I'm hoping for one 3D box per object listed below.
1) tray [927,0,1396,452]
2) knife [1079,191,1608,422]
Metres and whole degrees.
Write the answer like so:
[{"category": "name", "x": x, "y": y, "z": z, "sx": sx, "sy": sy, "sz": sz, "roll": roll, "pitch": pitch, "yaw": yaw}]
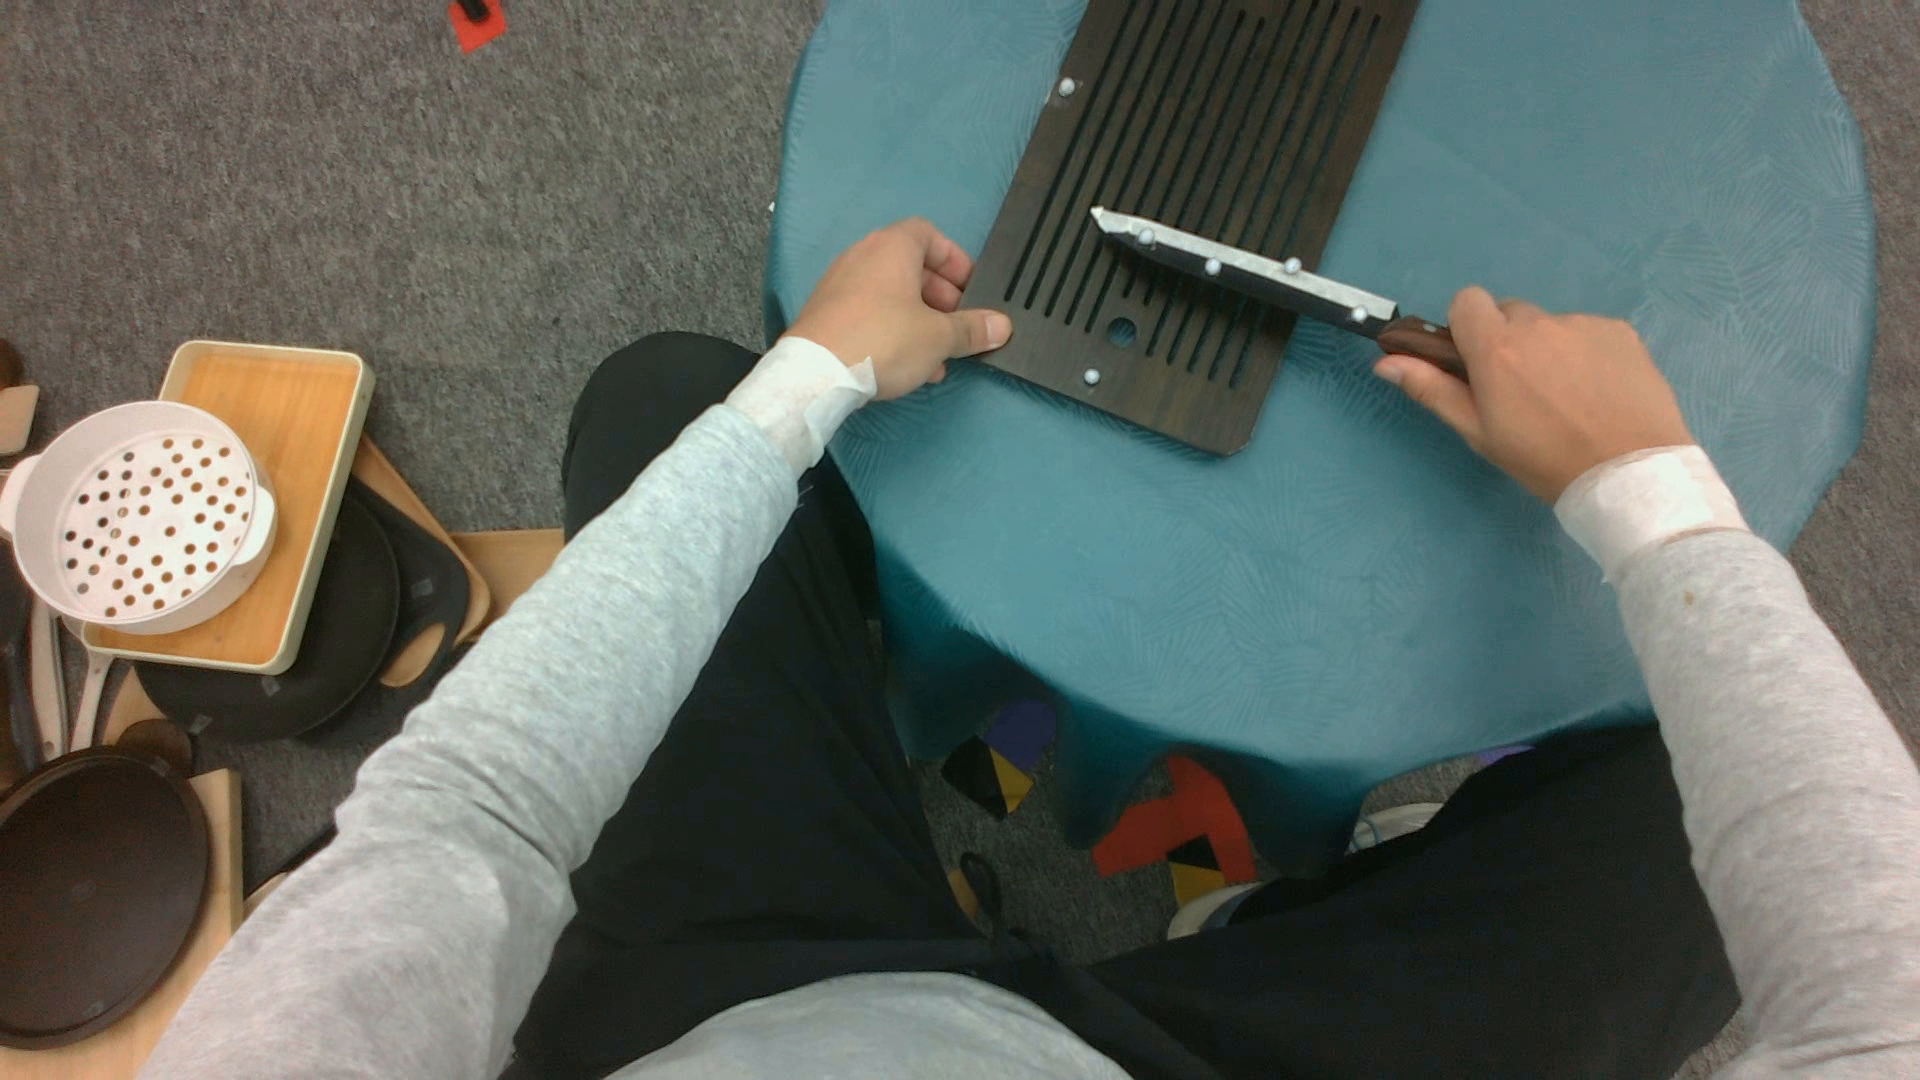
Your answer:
[{"category": "tray", "x": 0.114, "y": -0.210, "z": 0.756, "sx": 0.170, "sy": 0.018, "sz": 0.306, "roll": 22, "pitch": 79, "yaw": 5}, {"category": "knife", "x": 0.192, "y": -0.126, "z": 0.711, "sx": 0.289, "sy": 0.020, "sz": 0.050, "roll": 25, "pitch": 39, "yaw": 10}]
